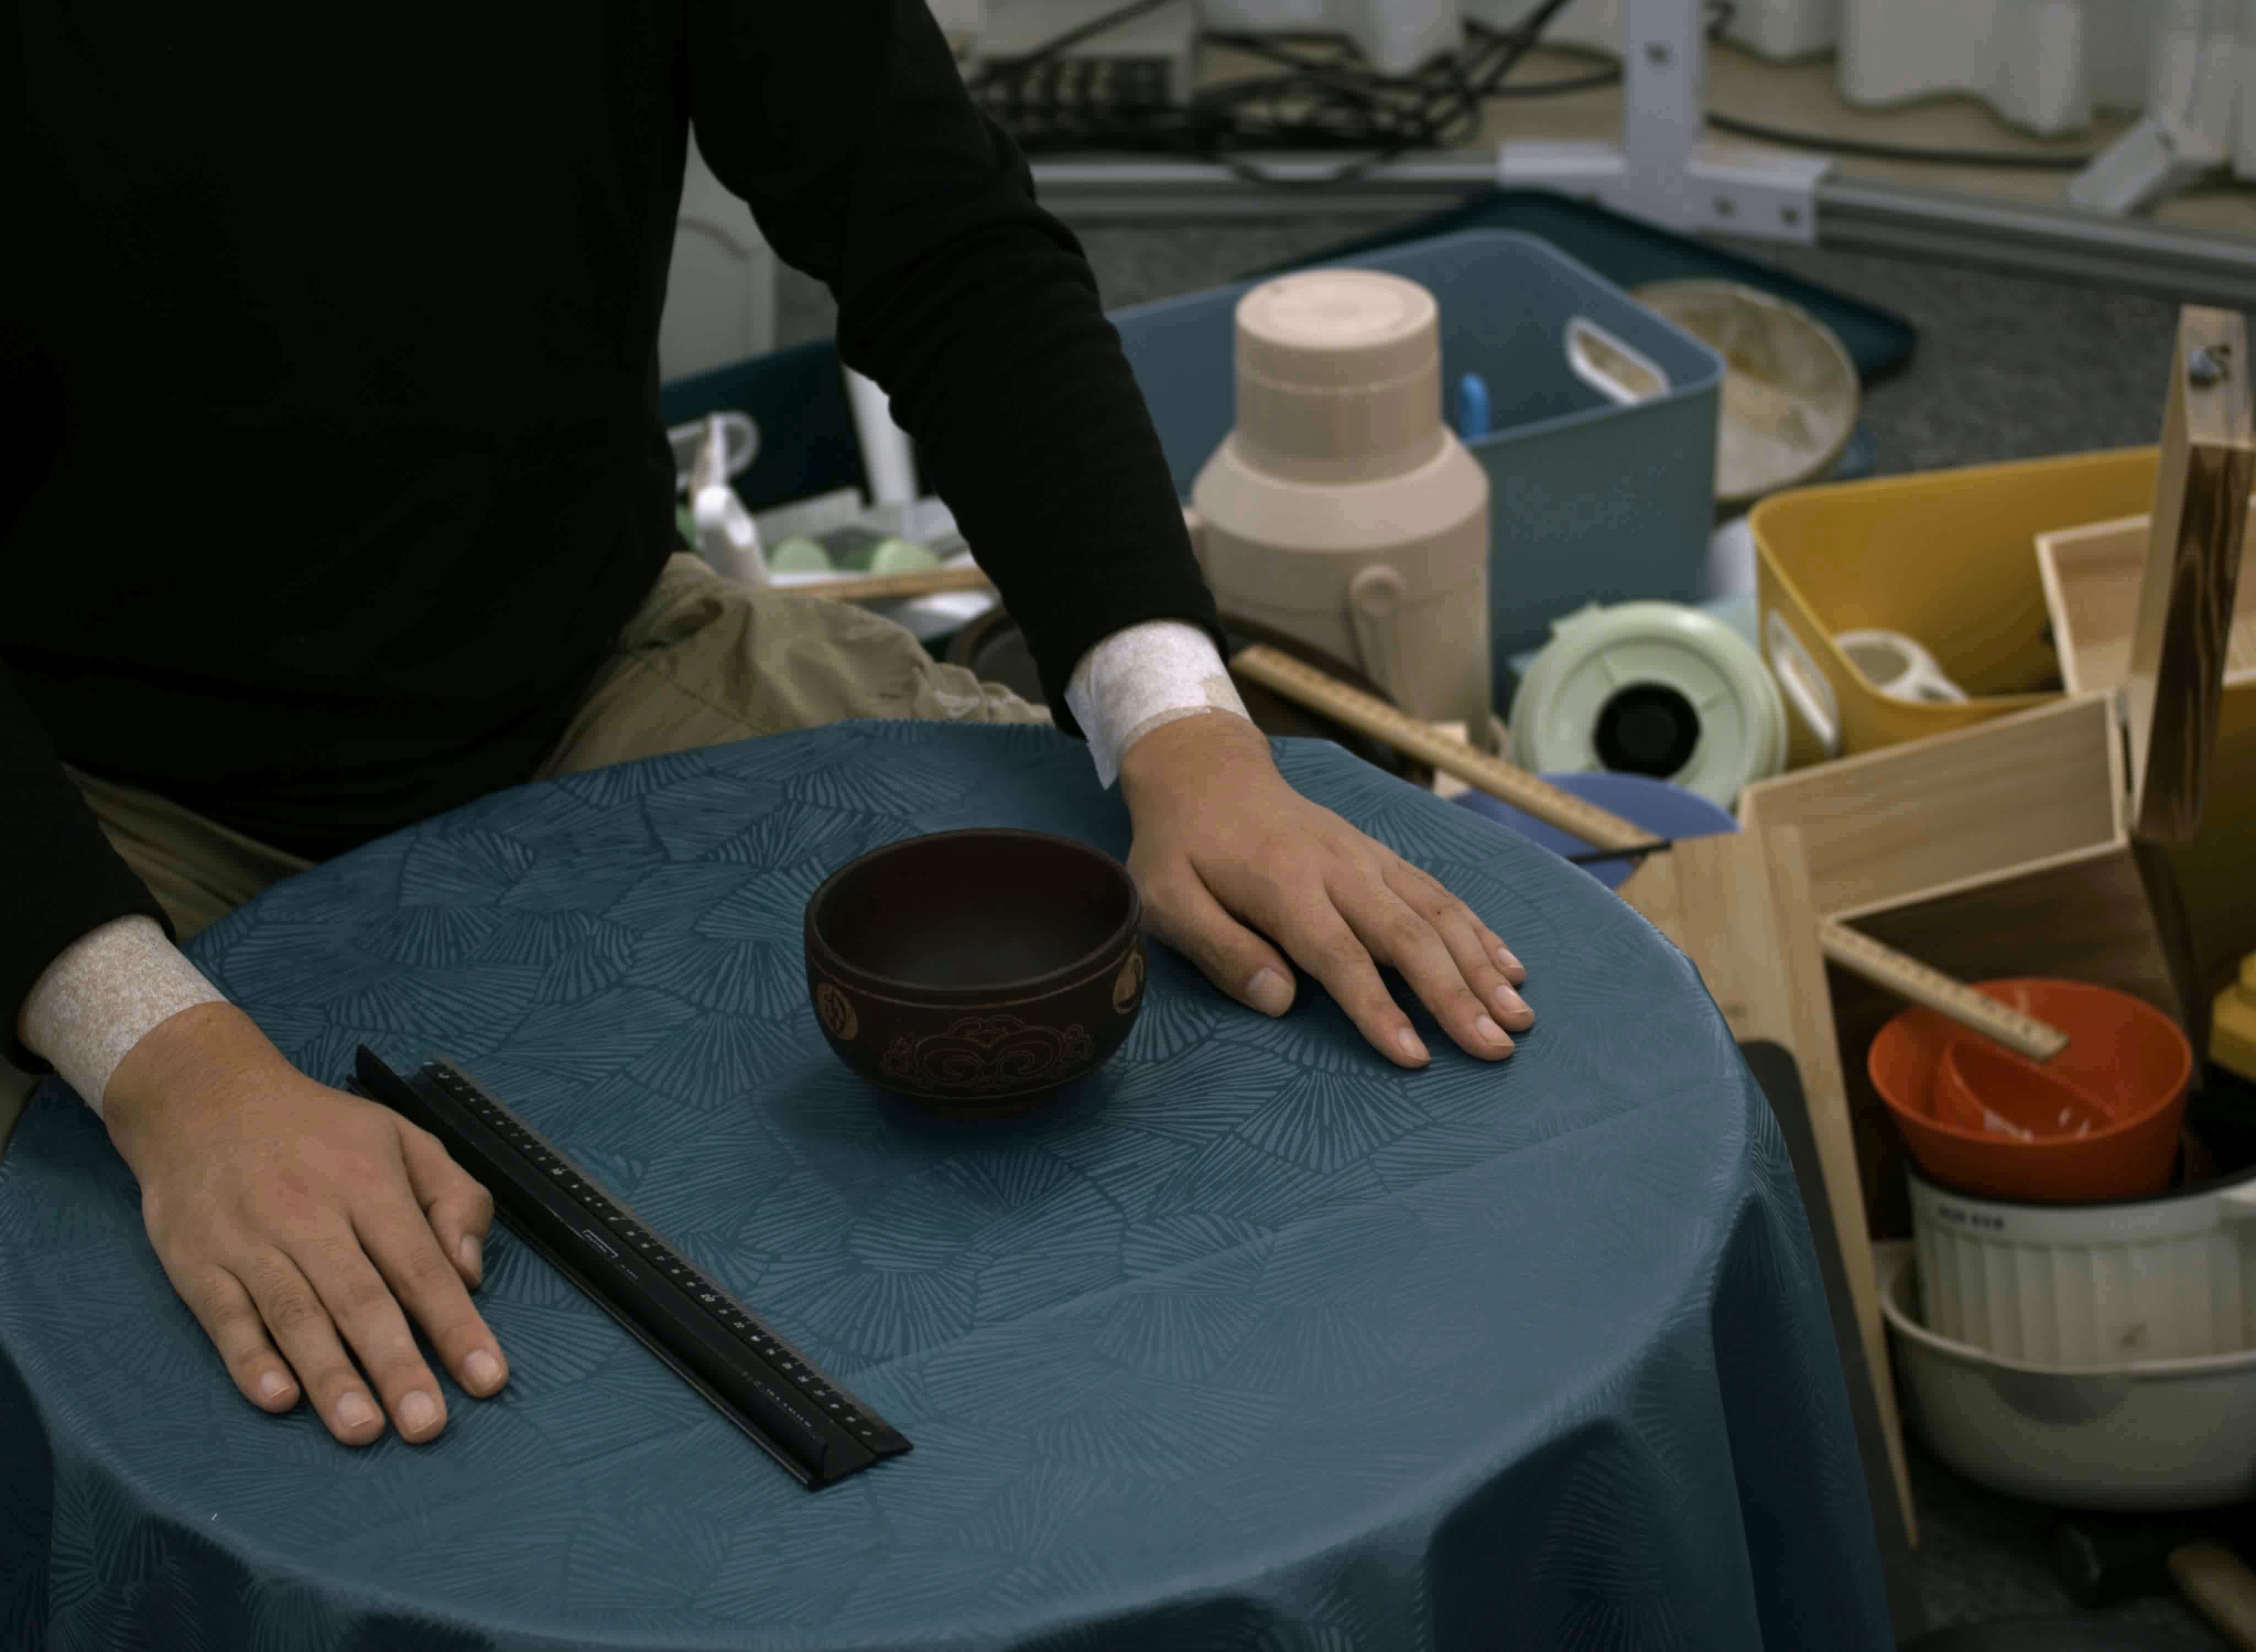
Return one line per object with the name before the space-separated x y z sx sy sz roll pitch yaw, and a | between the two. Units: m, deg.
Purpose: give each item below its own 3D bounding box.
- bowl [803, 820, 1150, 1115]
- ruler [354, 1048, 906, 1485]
bowl | -0.051 0.055 1.916 0.117 0.069 0.120 -1 27 1
ruler | -0.167 0.135 1.834 0.039 0.017 0.313 -15 29 -30
